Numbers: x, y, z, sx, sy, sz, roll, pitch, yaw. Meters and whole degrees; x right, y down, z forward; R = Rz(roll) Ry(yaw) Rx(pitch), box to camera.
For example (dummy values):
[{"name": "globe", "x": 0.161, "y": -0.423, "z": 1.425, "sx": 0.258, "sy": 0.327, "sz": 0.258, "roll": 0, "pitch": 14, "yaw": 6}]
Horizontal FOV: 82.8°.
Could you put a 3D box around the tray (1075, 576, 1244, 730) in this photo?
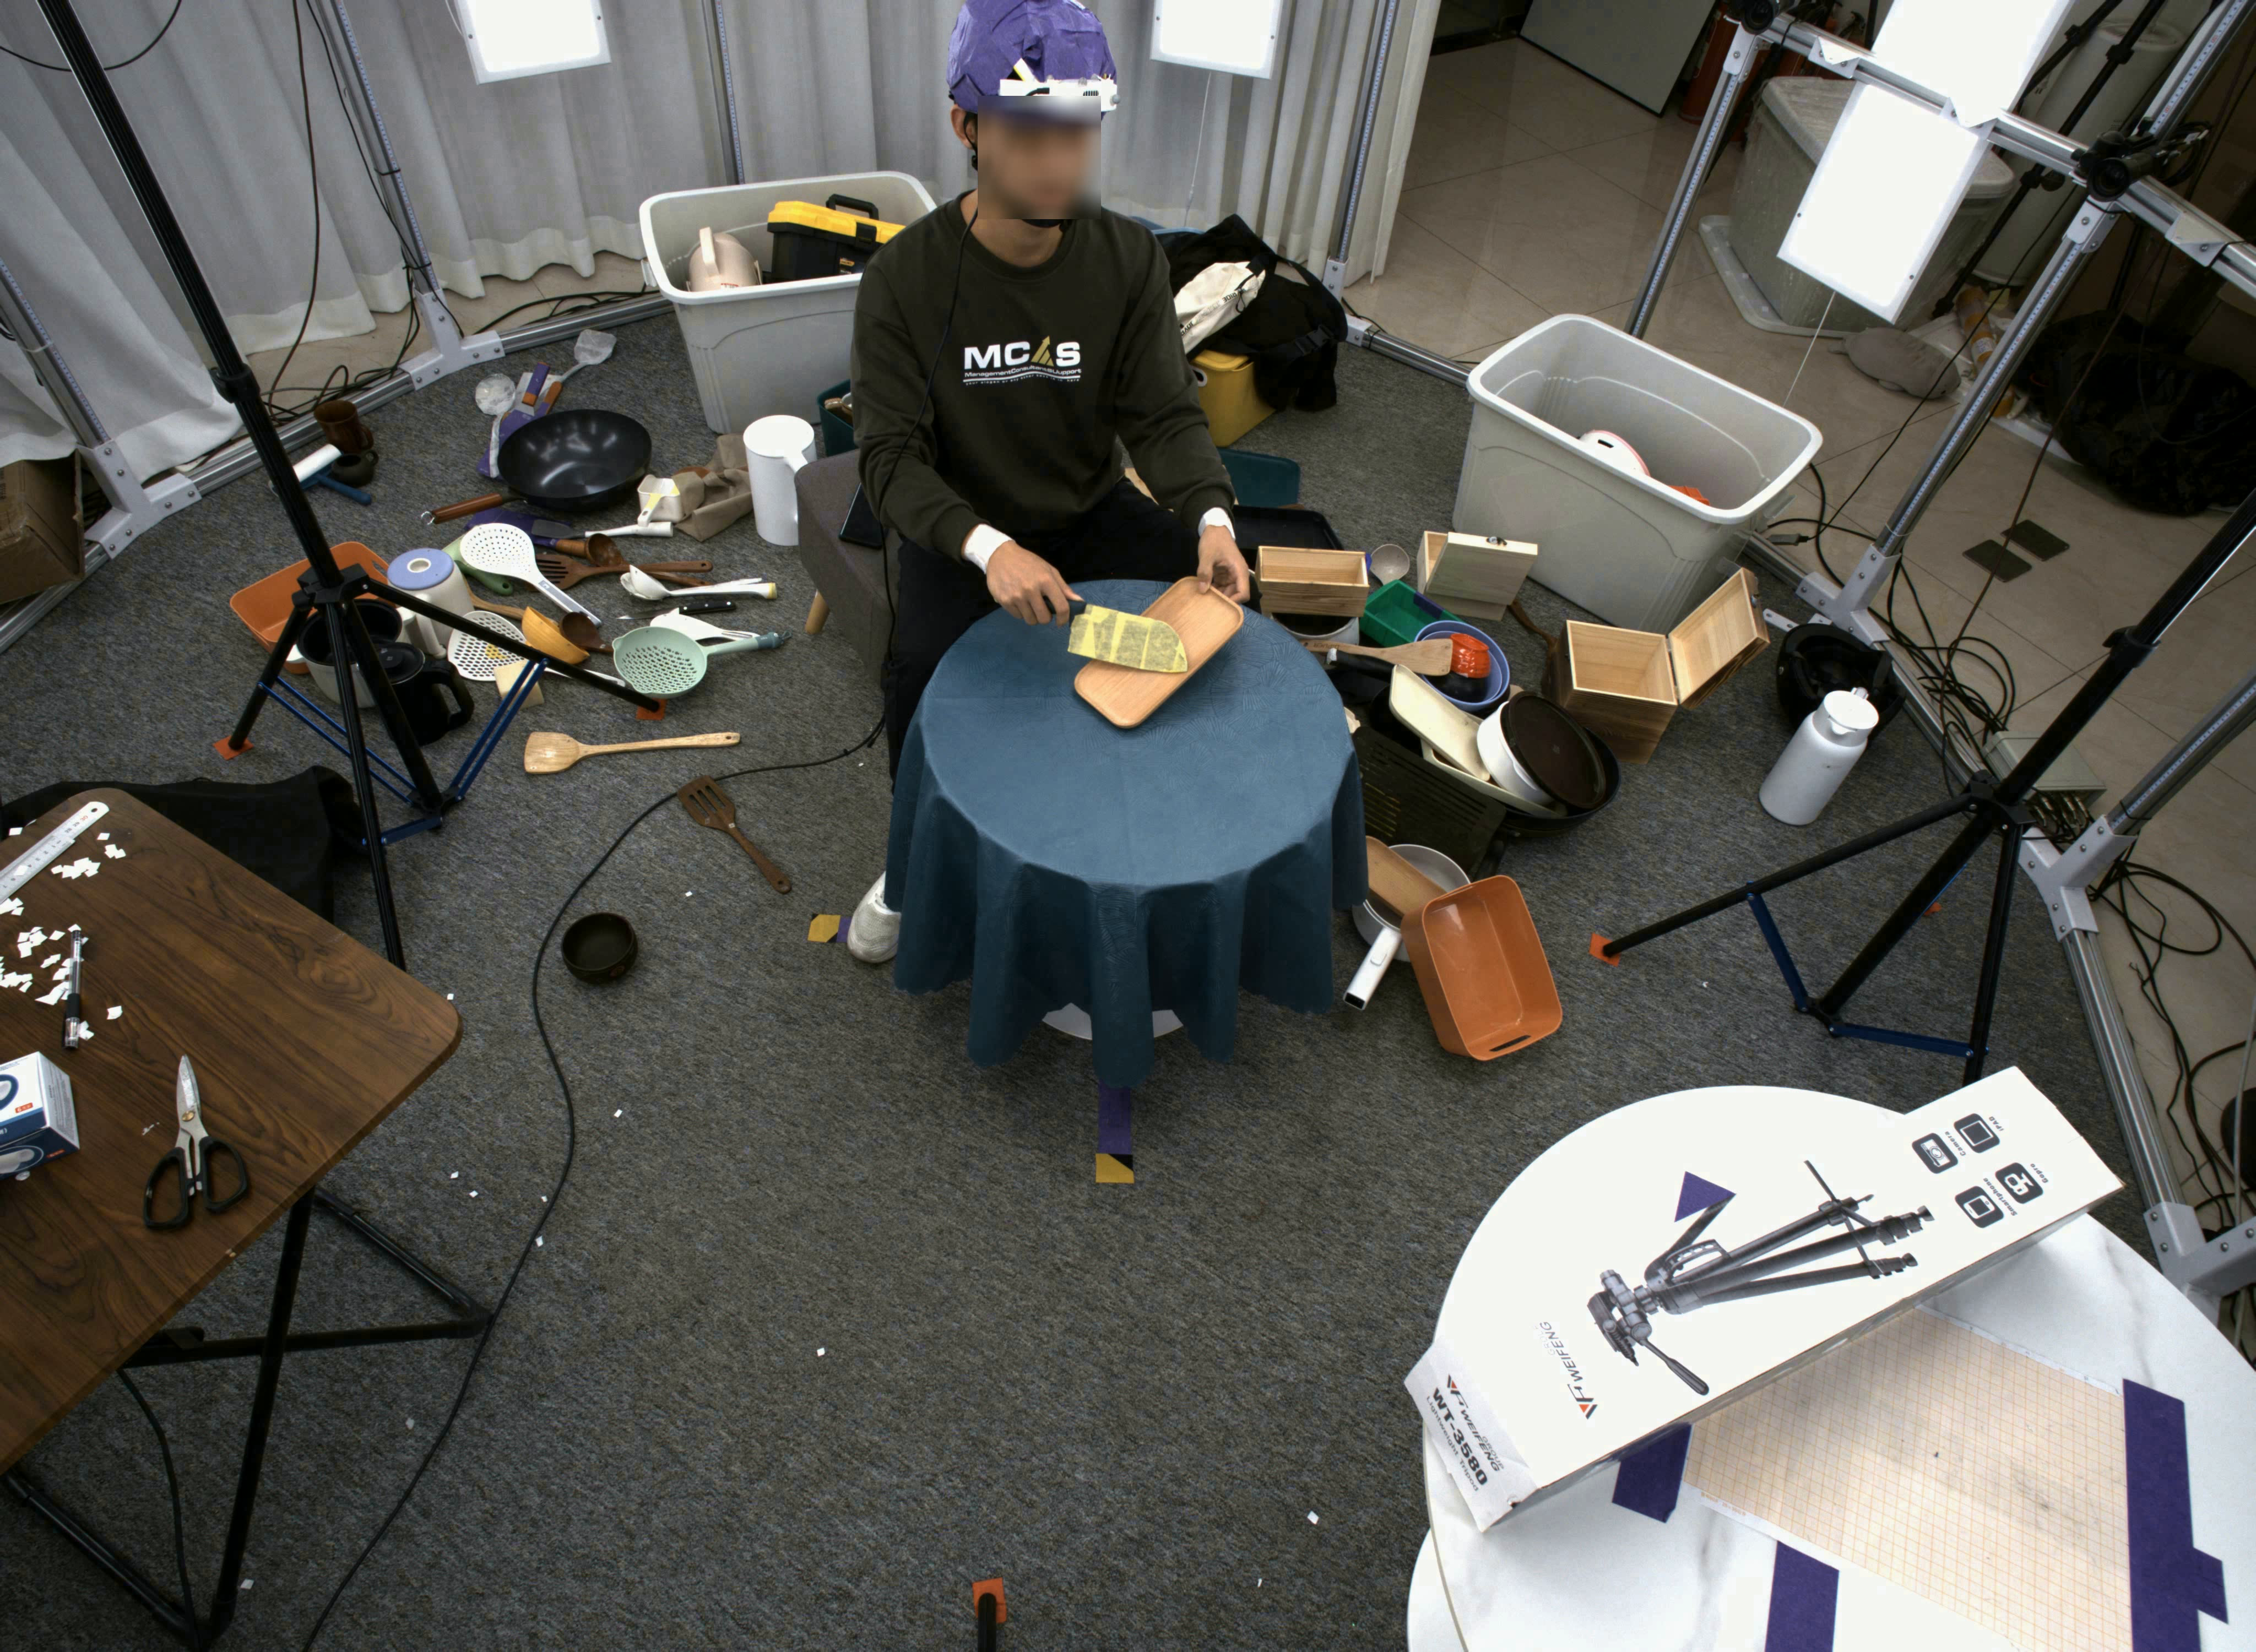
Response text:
[{"name": "tray", "x": 0.046, "y": -0.246, "z": 1.823, "sx": 0.252, "sy": 0.022, "sz": 0.133, "roll": -44, "pitch": 60, "yaw": -10}]

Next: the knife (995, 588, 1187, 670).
[{"name": "knife", "x": -0.054, "y": -0.279, "z": 1.812, "sx": 0.290, "sy": 0.080, "sz": 0.027, "roll": 18, "pitch": 13, "yaw": 9}]
